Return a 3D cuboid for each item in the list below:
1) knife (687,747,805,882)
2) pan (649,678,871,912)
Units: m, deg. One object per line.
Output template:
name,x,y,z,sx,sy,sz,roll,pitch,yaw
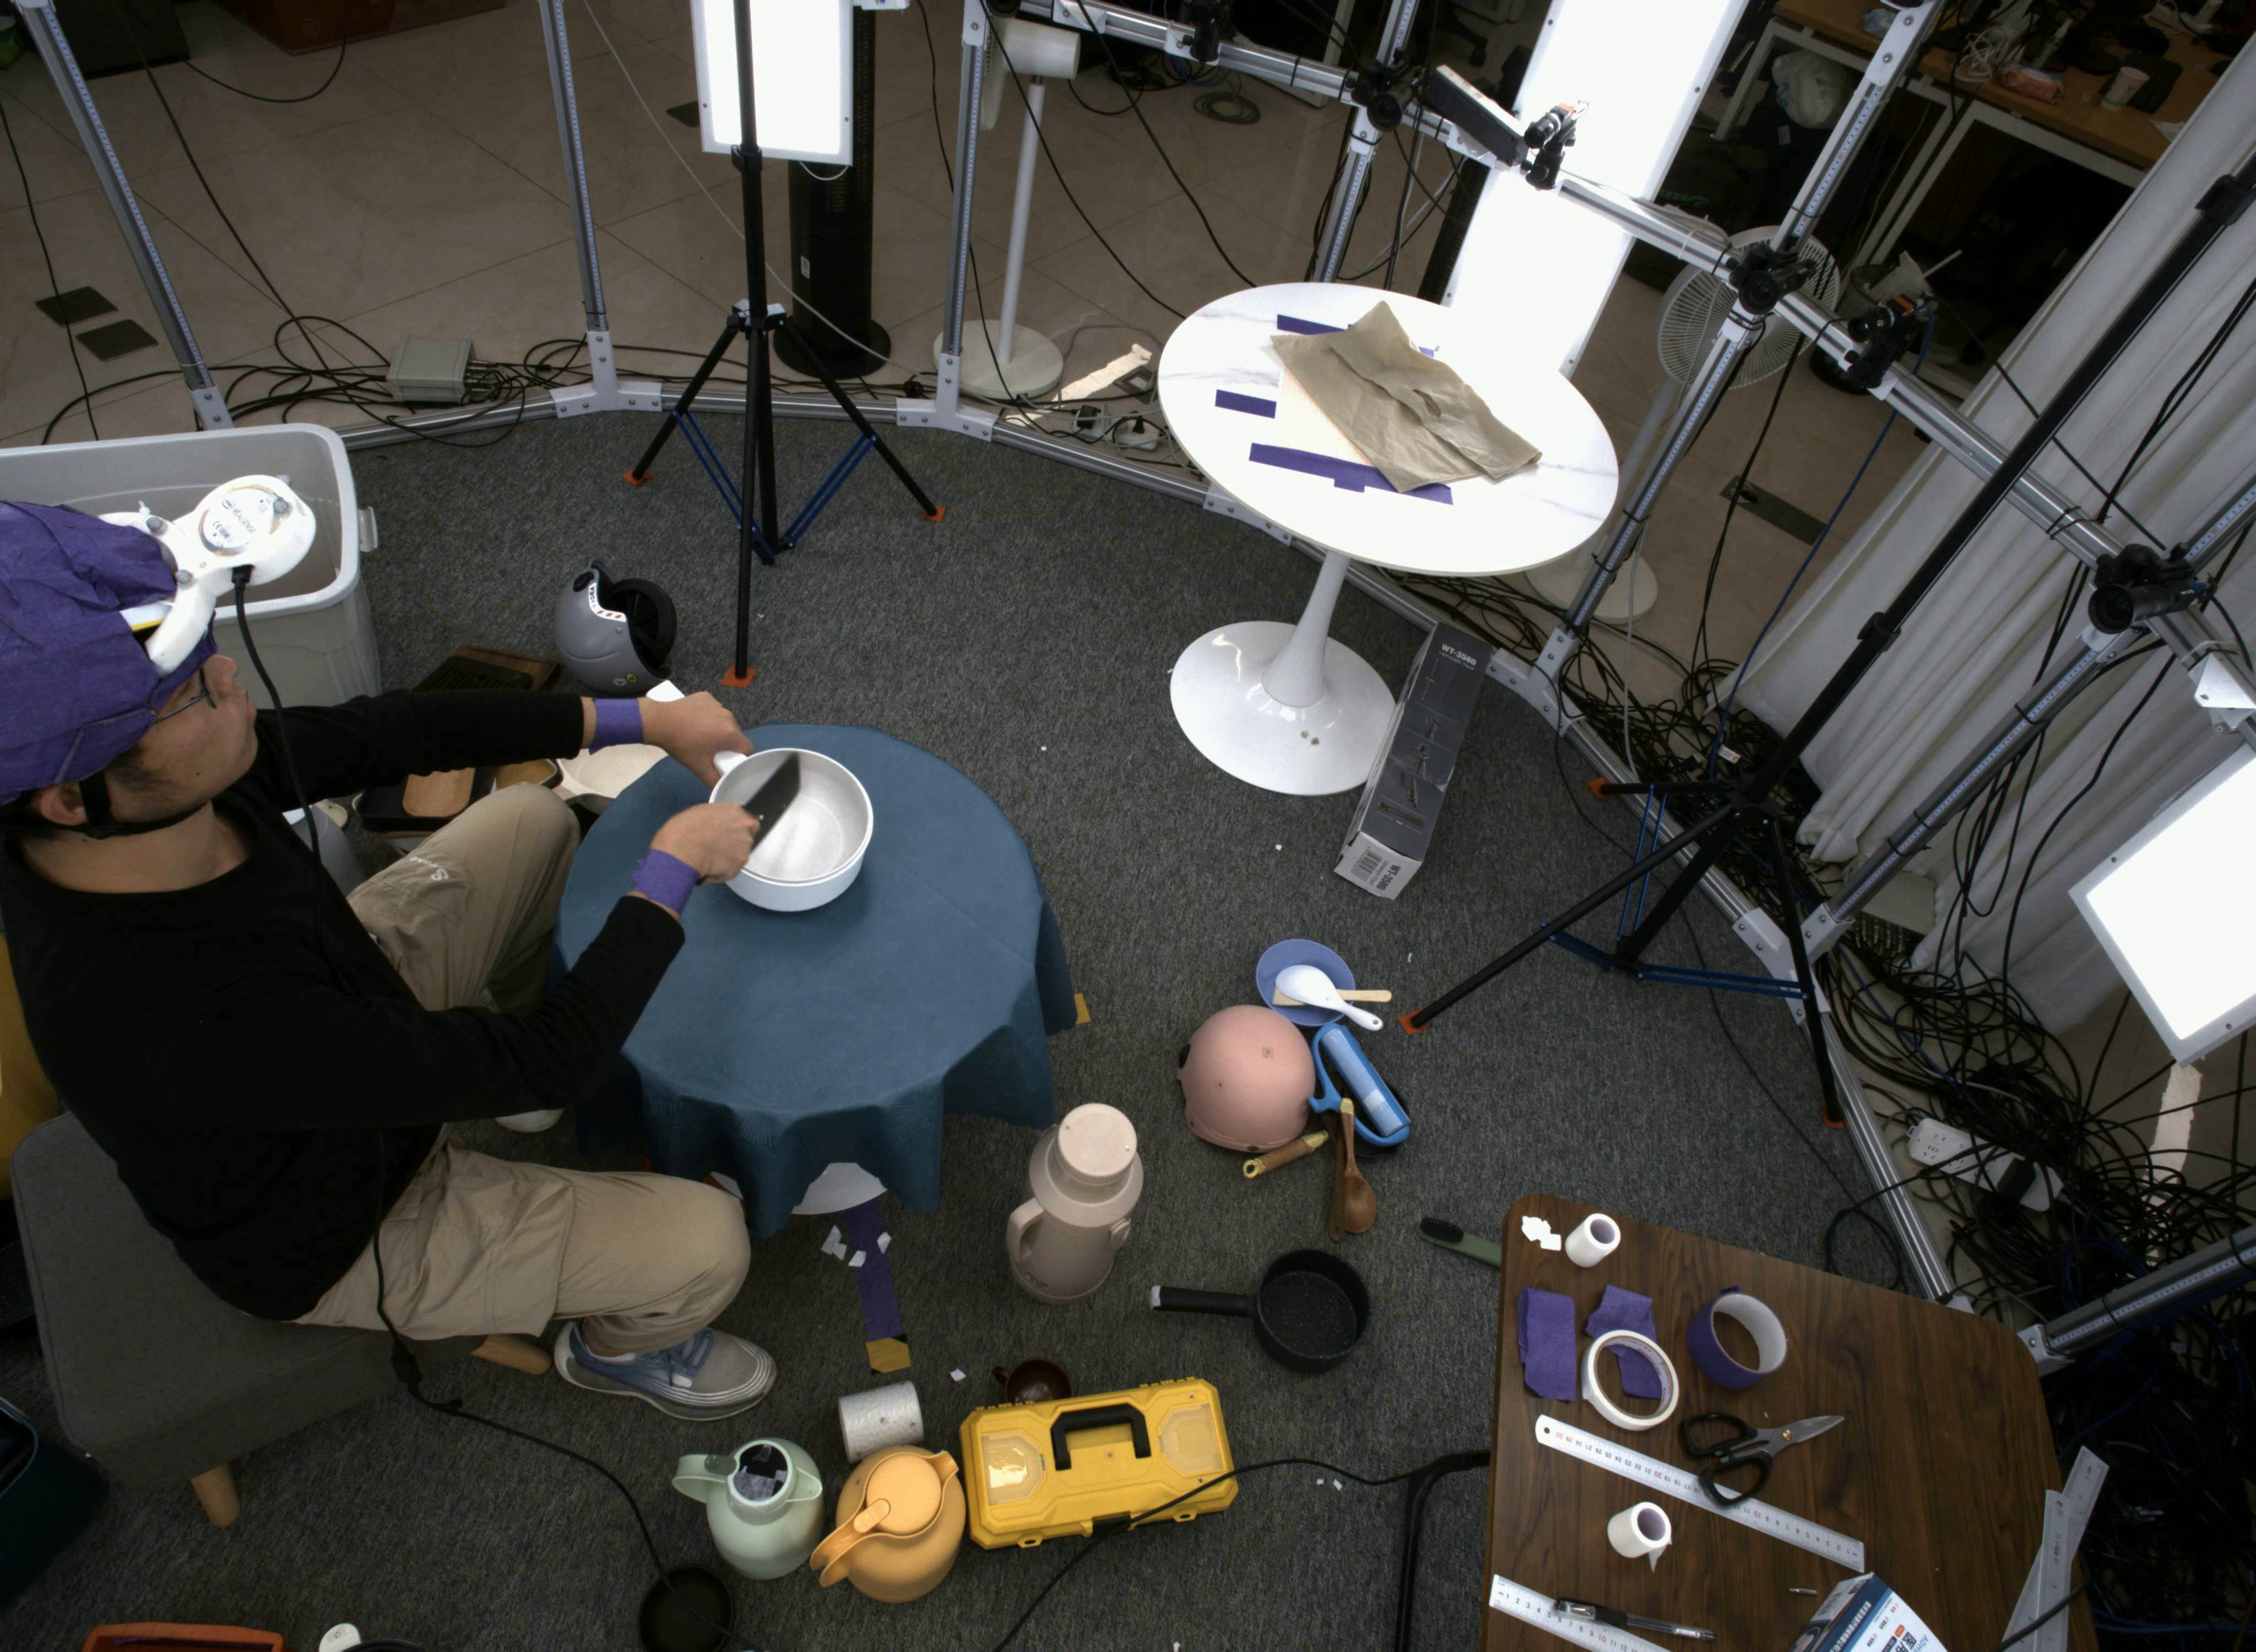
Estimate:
knife,-0.434,-0.010,1.496,0.020,0.083,0.299,6,23,8
pan,-0.486,-0.042,1.652,0.350,0.103,0.201,42,55,9
